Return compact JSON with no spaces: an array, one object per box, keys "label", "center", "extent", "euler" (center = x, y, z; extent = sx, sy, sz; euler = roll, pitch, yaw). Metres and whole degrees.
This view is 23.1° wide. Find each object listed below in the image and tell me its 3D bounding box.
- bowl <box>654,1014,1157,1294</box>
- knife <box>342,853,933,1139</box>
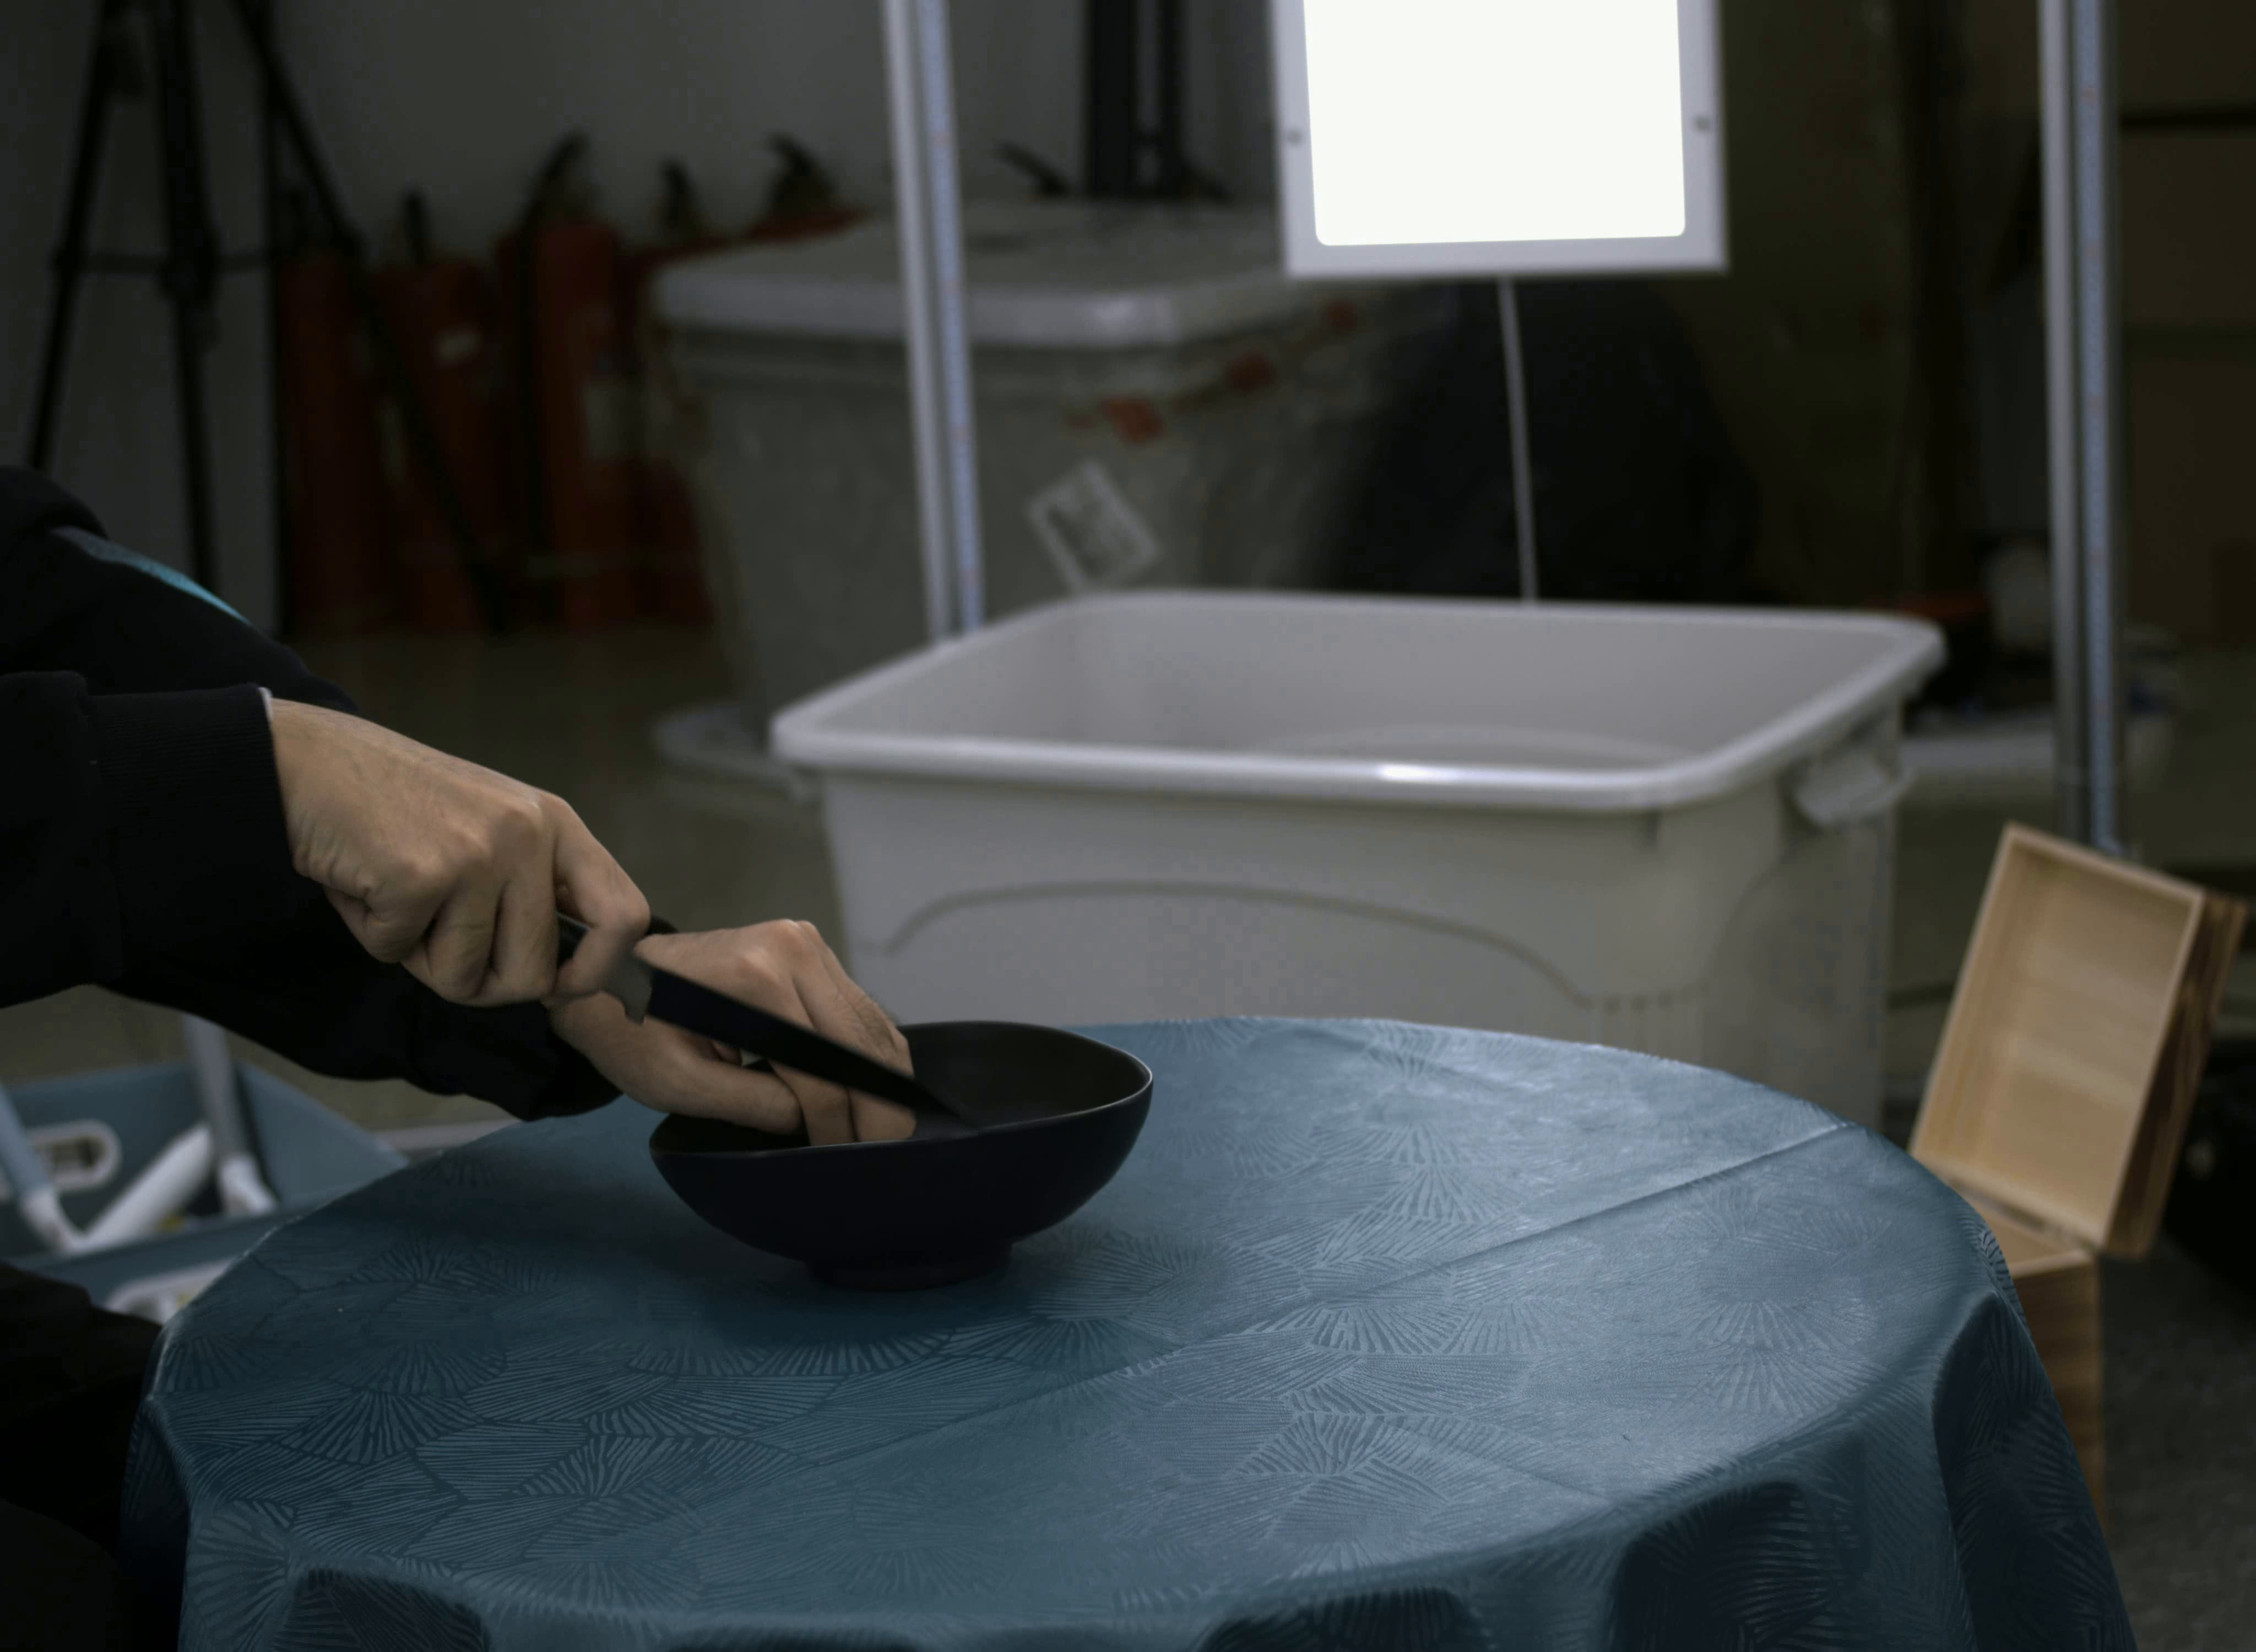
[{"label":"bowl","center":[-0.072,0.115,1.836],"extent":[0.170,0.067,0.137],"euler":[-7,14,0]},{"label":"knife","center":[-0.153,0.059,1.804],"extent":[0.224,0.026,0.017],"euler":[24,41,-4]}]
